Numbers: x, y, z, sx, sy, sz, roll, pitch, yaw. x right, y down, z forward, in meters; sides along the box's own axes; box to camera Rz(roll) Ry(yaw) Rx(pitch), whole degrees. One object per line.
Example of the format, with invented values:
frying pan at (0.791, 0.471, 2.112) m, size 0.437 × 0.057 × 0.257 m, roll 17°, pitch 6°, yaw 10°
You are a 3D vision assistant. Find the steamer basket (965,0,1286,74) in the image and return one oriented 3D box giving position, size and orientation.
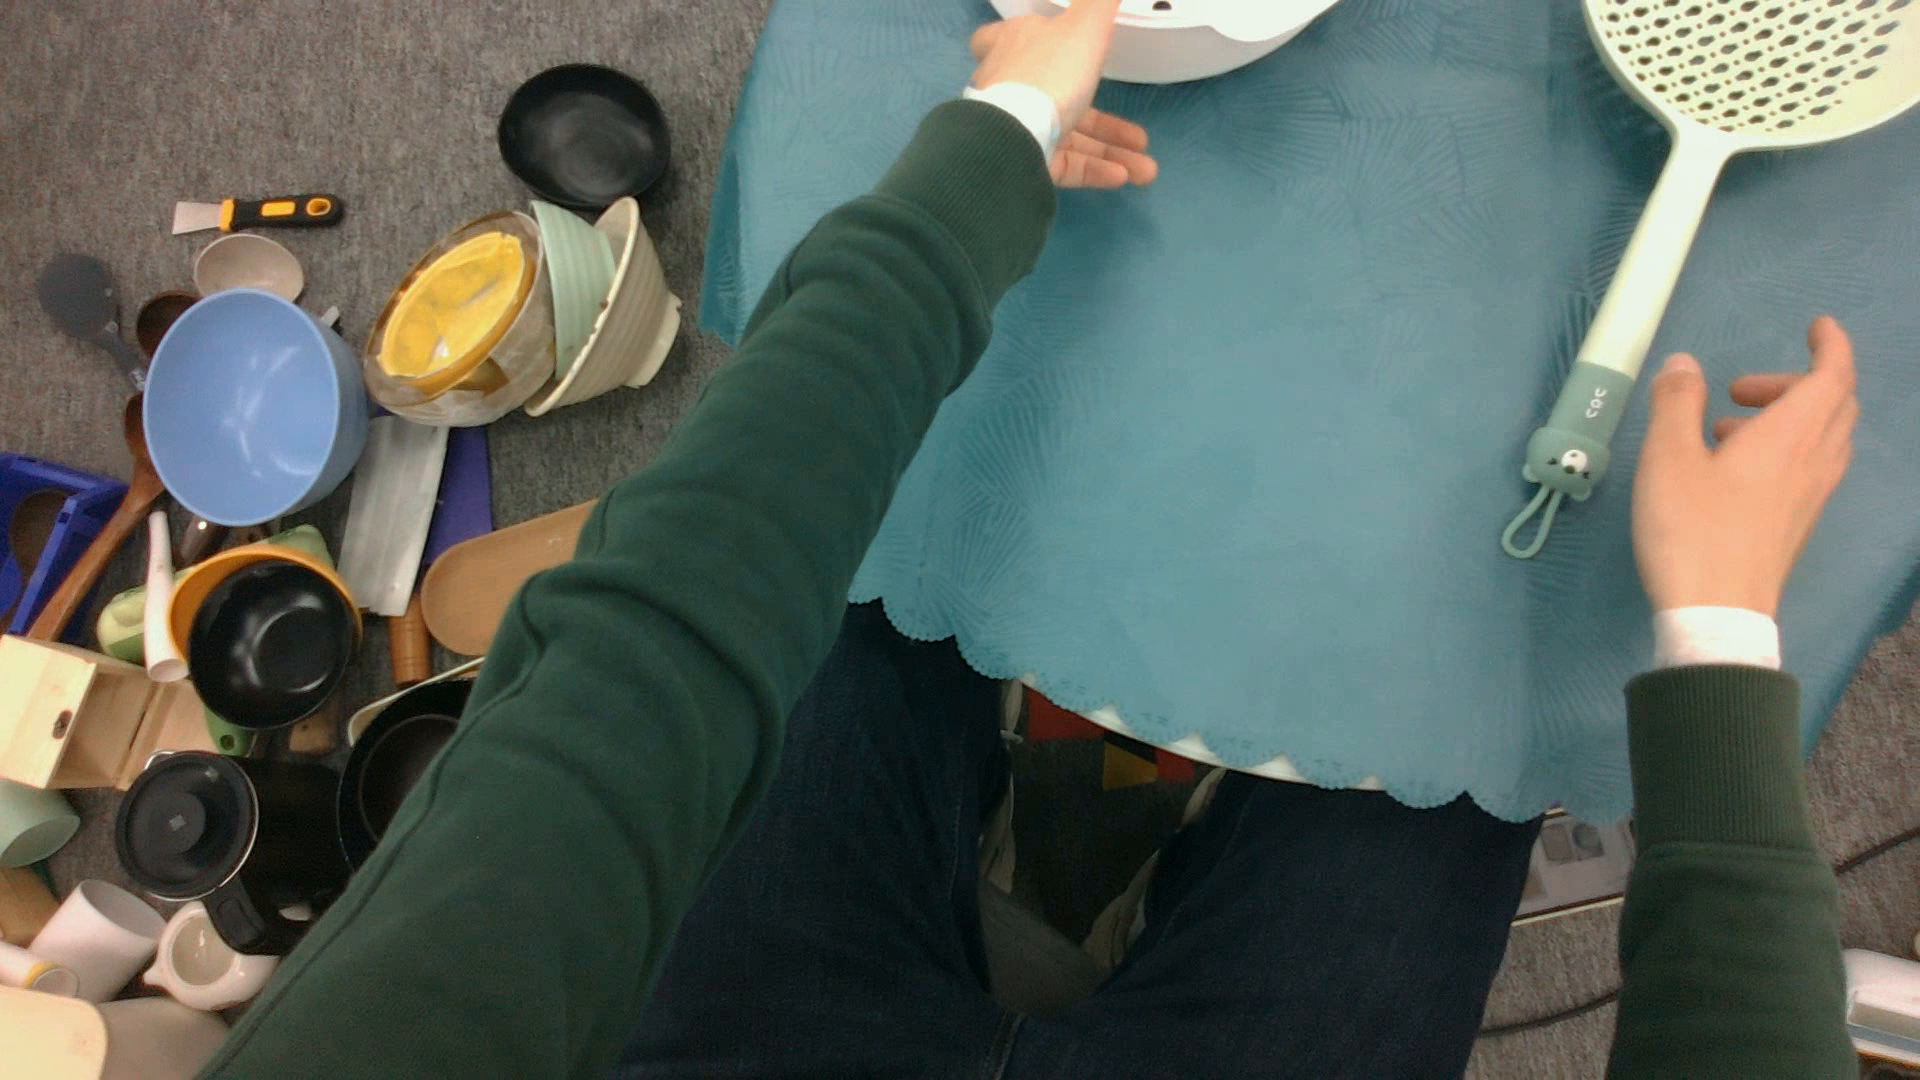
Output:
steamer basket at (0.079, -0.322, 0.656) m, size 0.202 × 0.069 × 0.231 m, roll -32°, pitch 77°, yaw -3°

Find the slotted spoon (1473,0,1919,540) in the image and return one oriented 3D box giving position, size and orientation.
slotted spoon at (0.304, -0.168, 0.606) m, size 0.169 × 0.075 × 0.359 m, roll 23°, pitch 79°, yaw 9°
